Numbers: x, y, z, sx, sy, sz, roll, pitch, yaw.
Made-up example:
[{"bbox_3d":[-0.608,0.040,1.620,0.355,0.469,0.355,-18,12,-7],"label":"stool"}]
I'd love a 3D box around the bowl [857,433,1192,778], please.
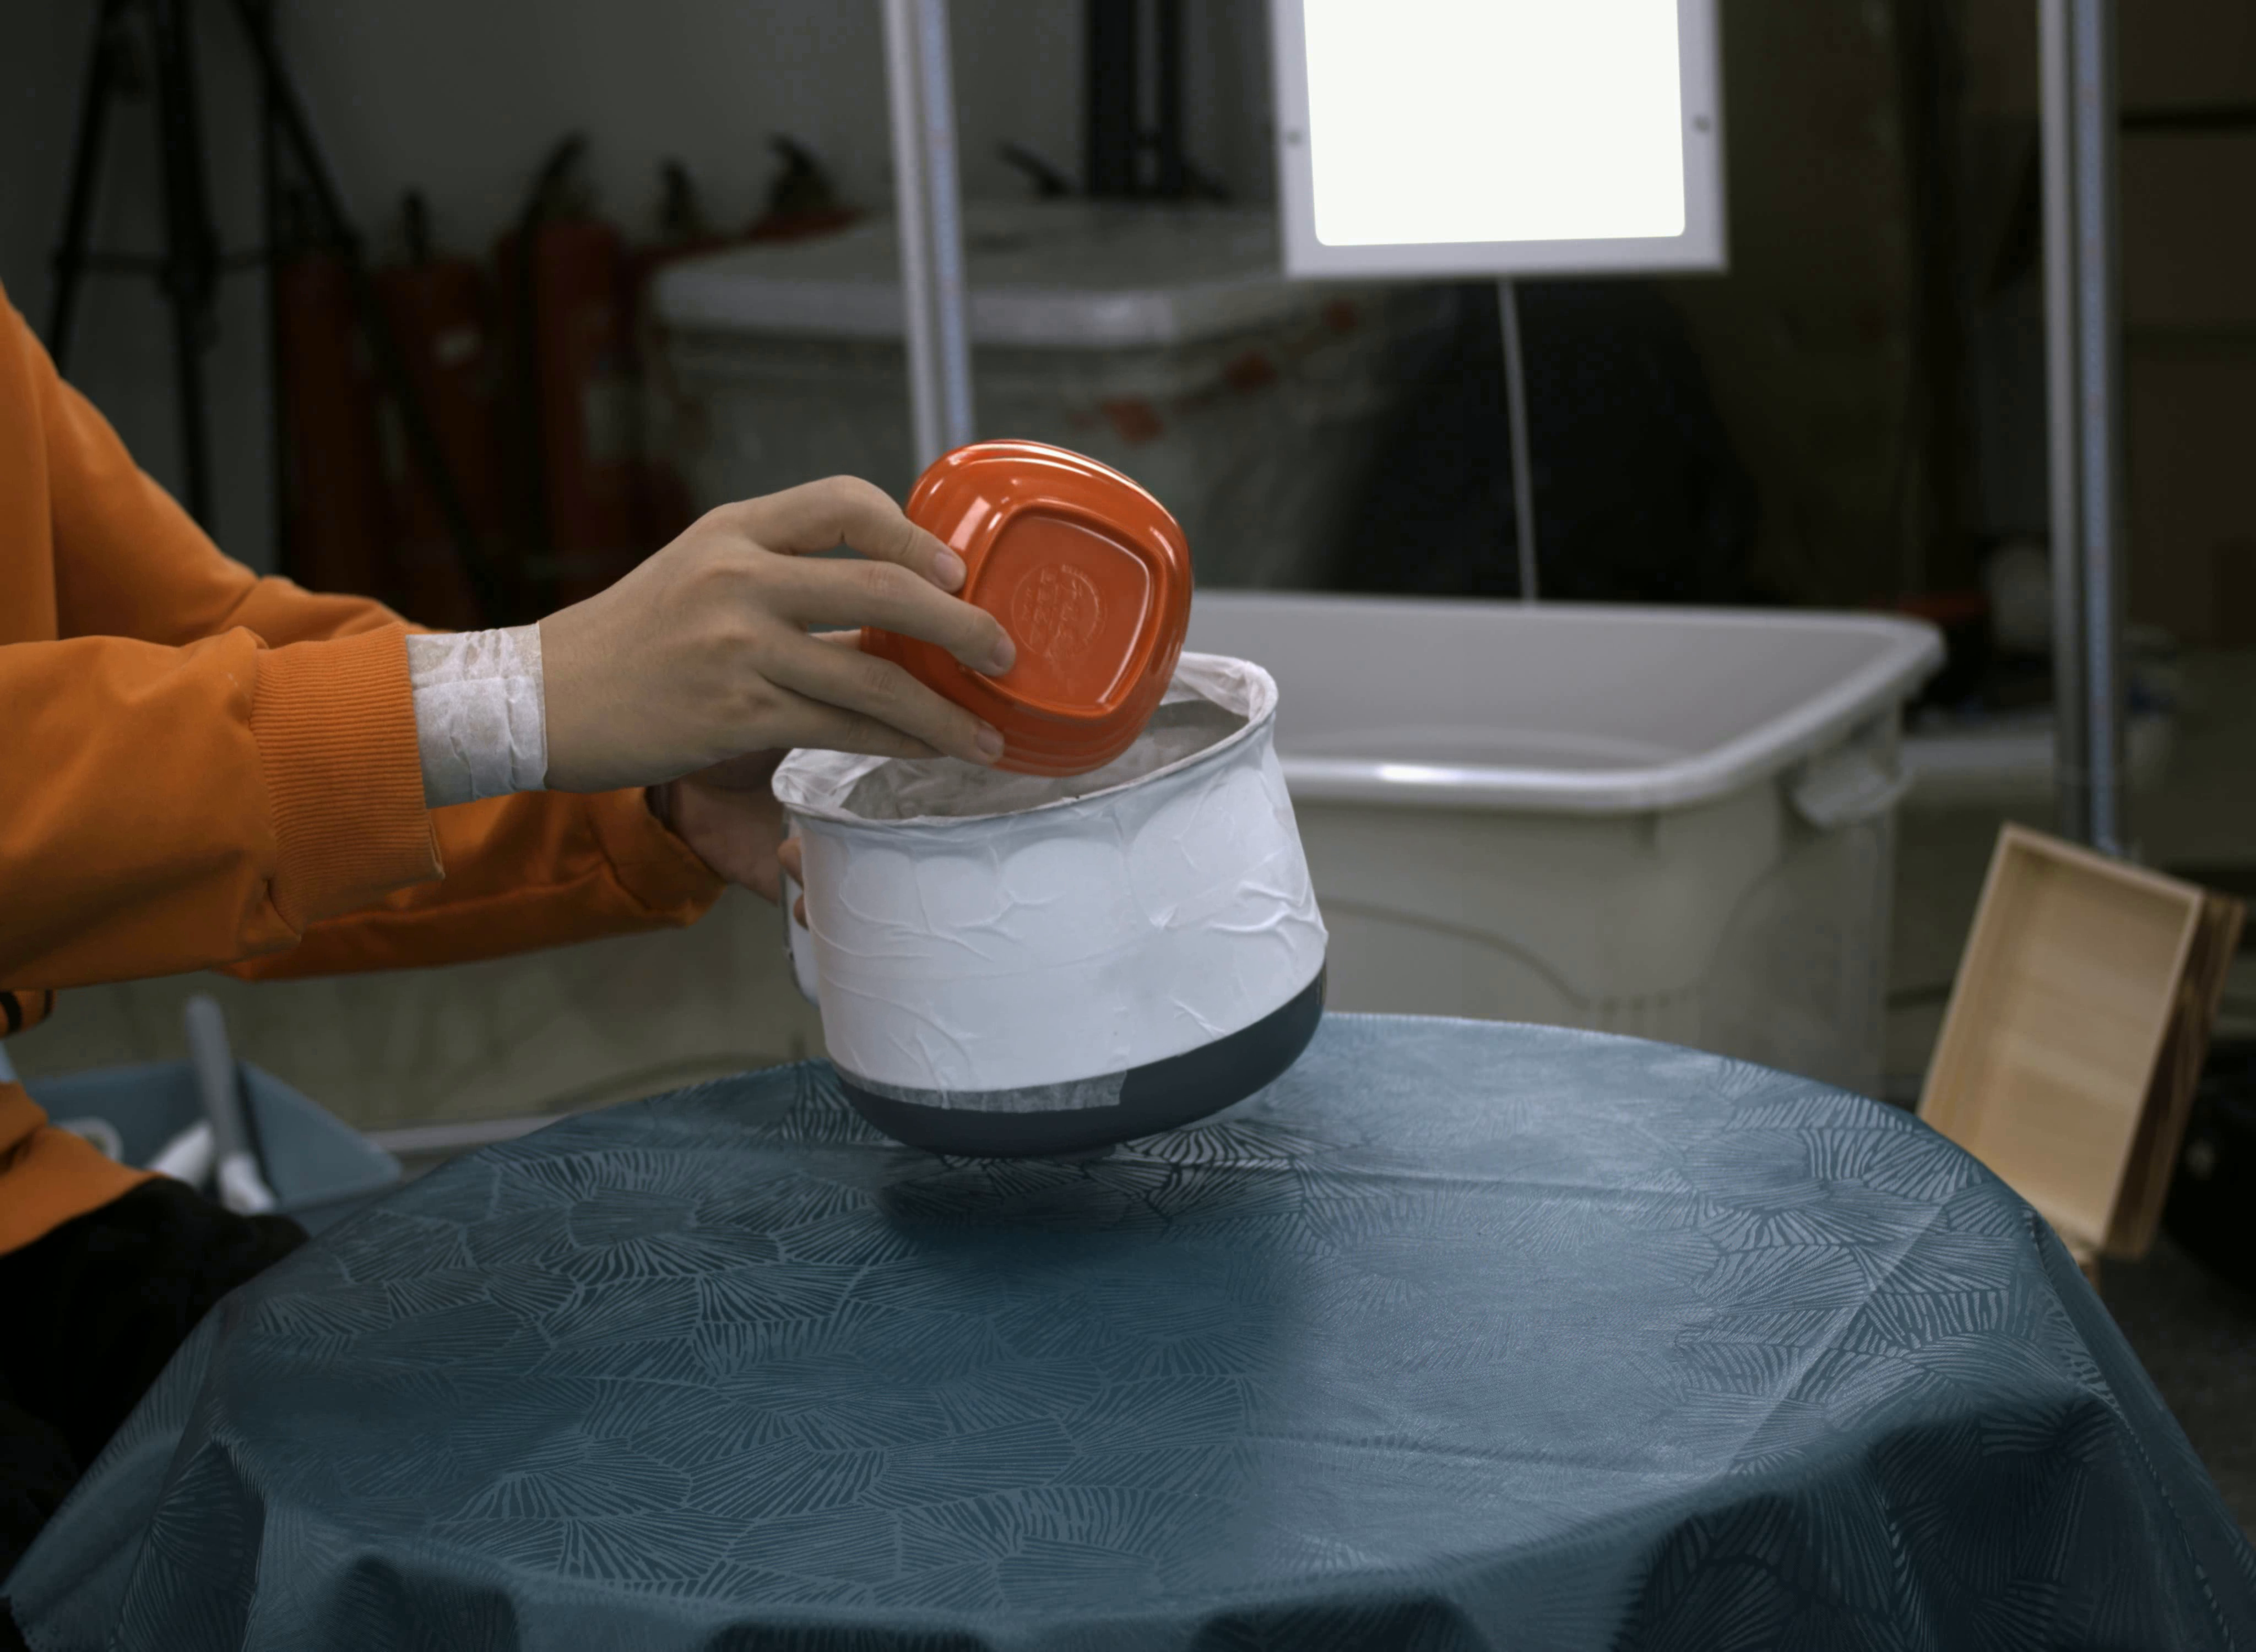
[{"bbox_3d":[-0.028,-0.072,1.815,0.117,0.119,0.052,-8,6,-13],"label":"bowl"}]

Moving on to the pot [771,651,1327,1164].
[{"bbox_3d":[-0.043,0.025,1.920,0.174,0.137,0.239,-25,21,-38],"label":"pot"}]
